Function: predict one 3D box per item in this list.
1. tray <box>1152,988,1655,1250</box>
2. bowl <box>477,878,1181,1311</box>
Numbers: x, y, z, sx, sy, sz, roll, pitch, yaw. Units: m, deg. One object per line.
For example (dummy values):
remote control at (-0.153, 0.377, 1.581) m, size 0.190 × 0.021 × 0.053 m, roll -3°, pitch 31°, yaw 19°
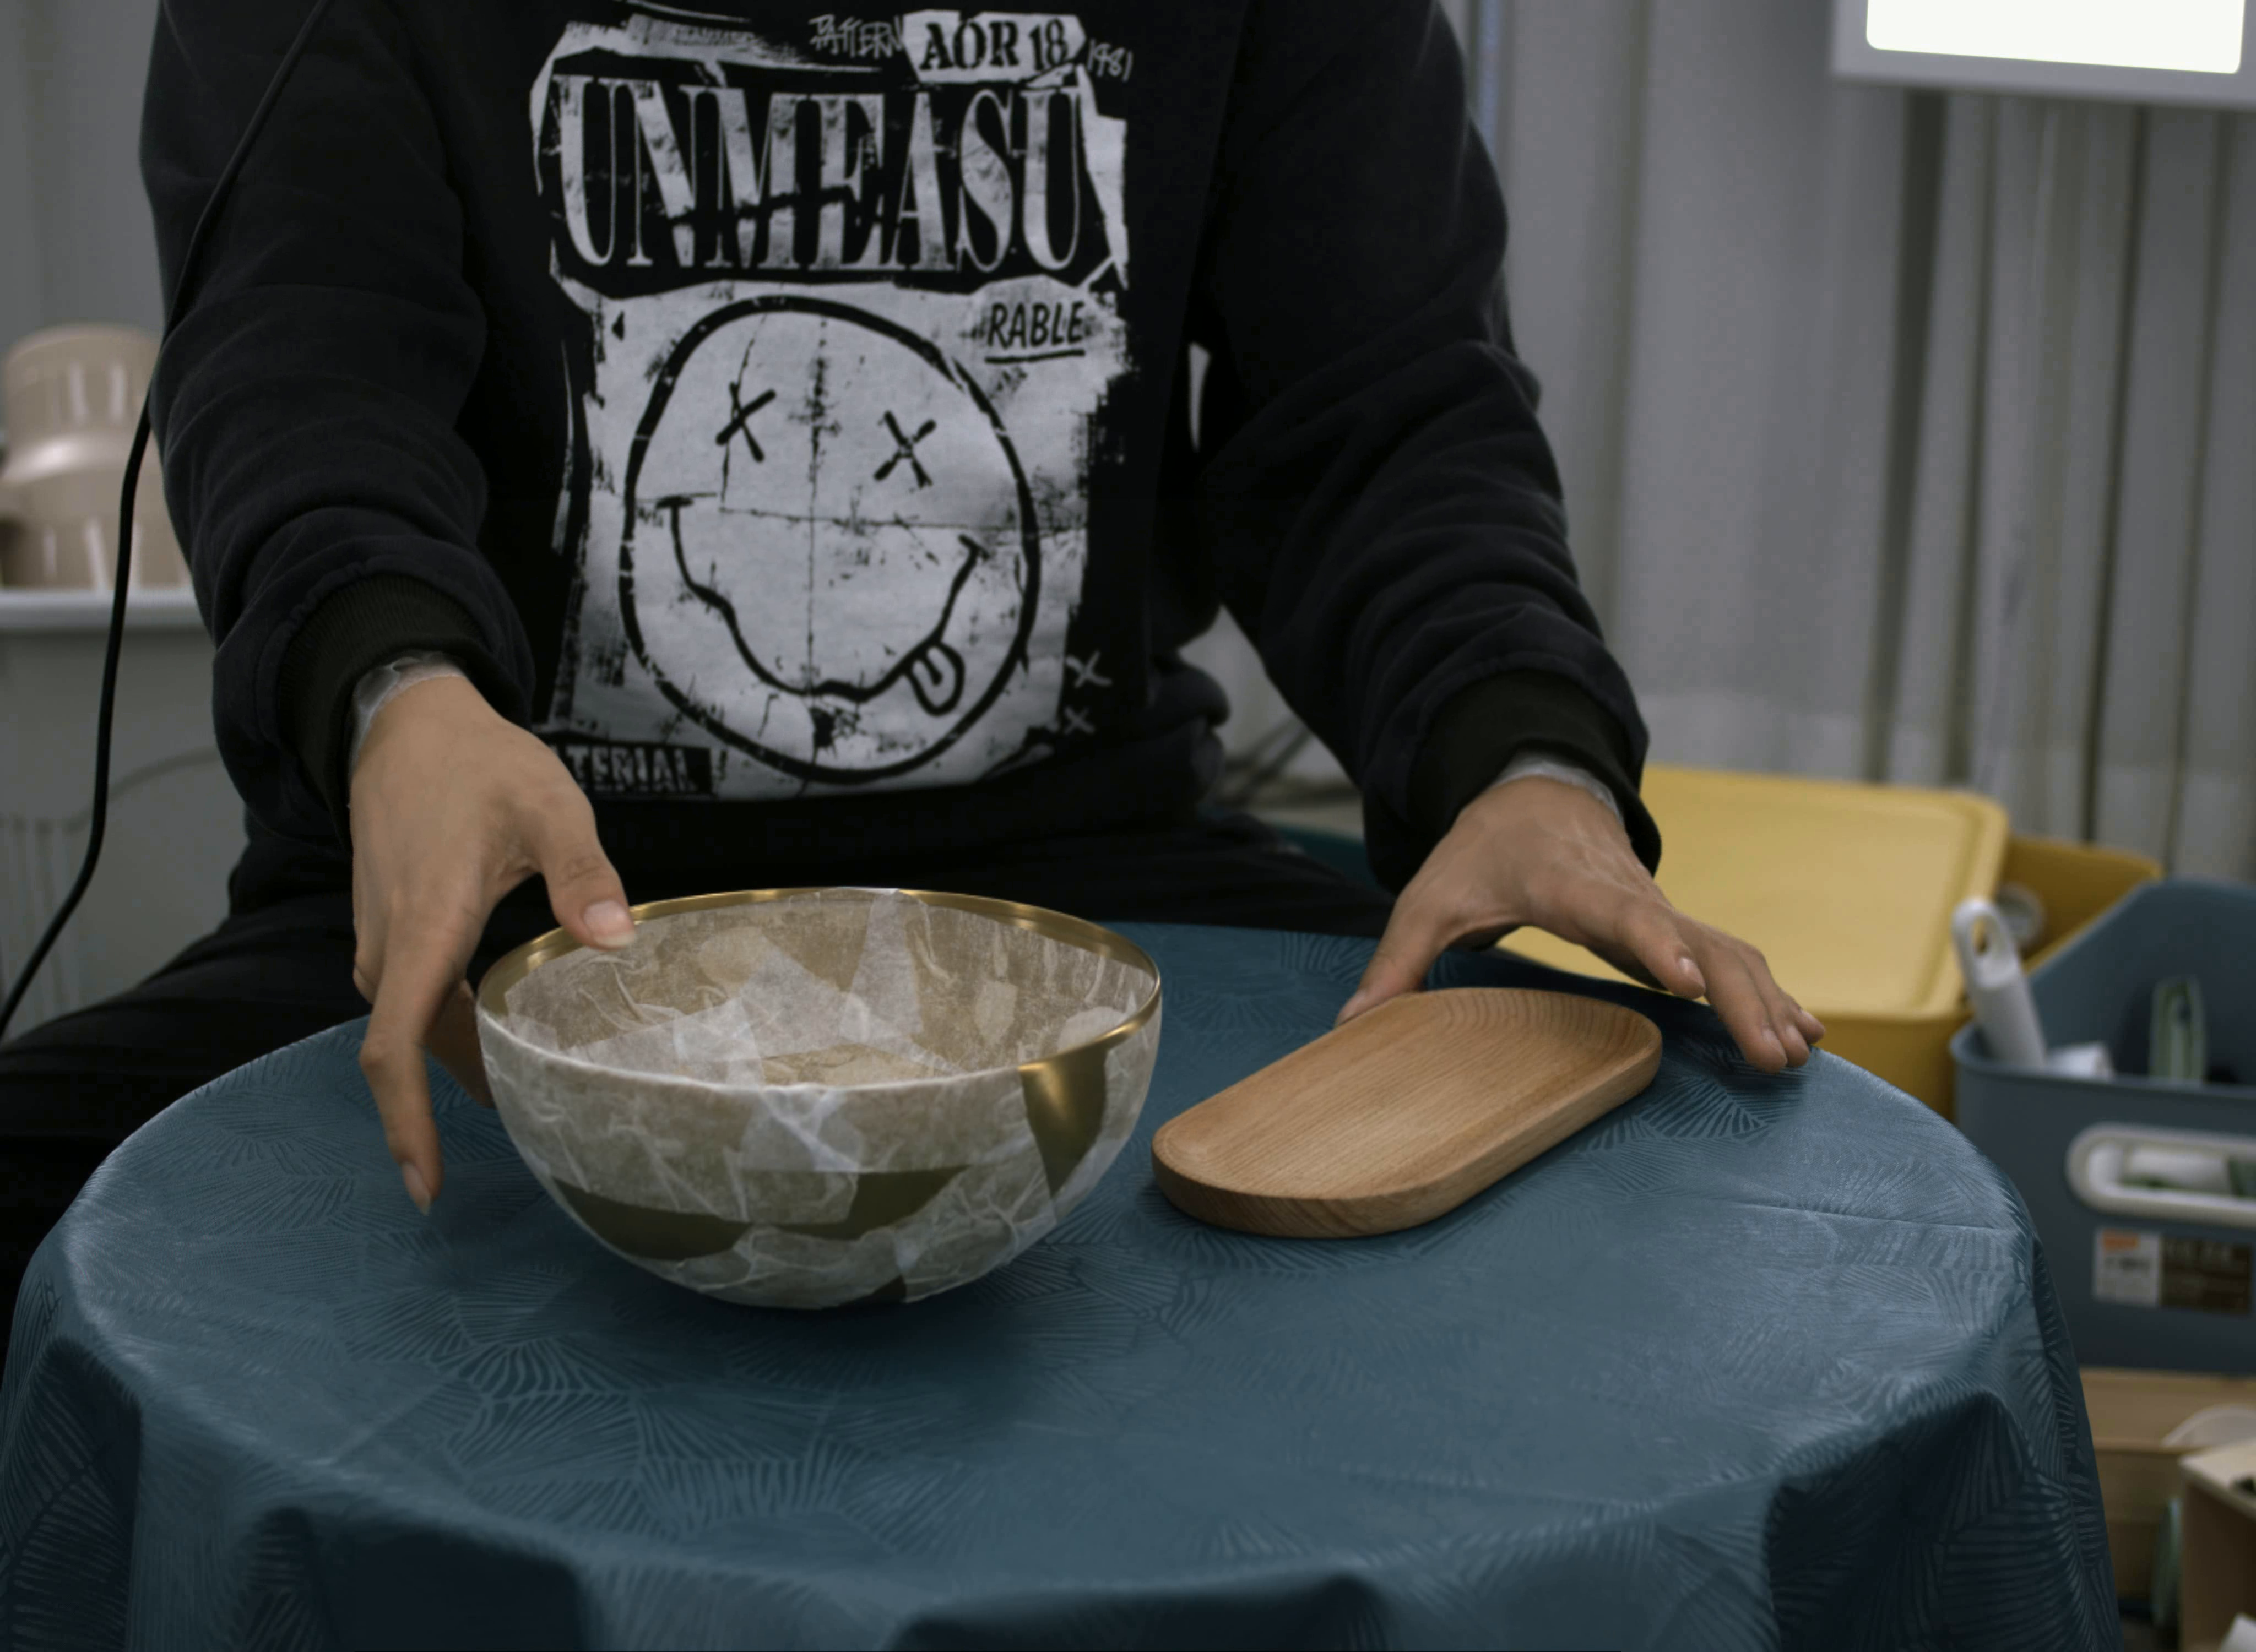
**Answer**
tray at (0.090, 0.091, 1.678) m, size 0.100 × 0.020 × 0.232 m, roll 7°, pitch 19°, yaw 29°
bowl at (-0.086, 0.086, 1.545) m, size 0.214 × 0.095 × 0.213 m, roll 0°, pitch 16°, yaw 1°
